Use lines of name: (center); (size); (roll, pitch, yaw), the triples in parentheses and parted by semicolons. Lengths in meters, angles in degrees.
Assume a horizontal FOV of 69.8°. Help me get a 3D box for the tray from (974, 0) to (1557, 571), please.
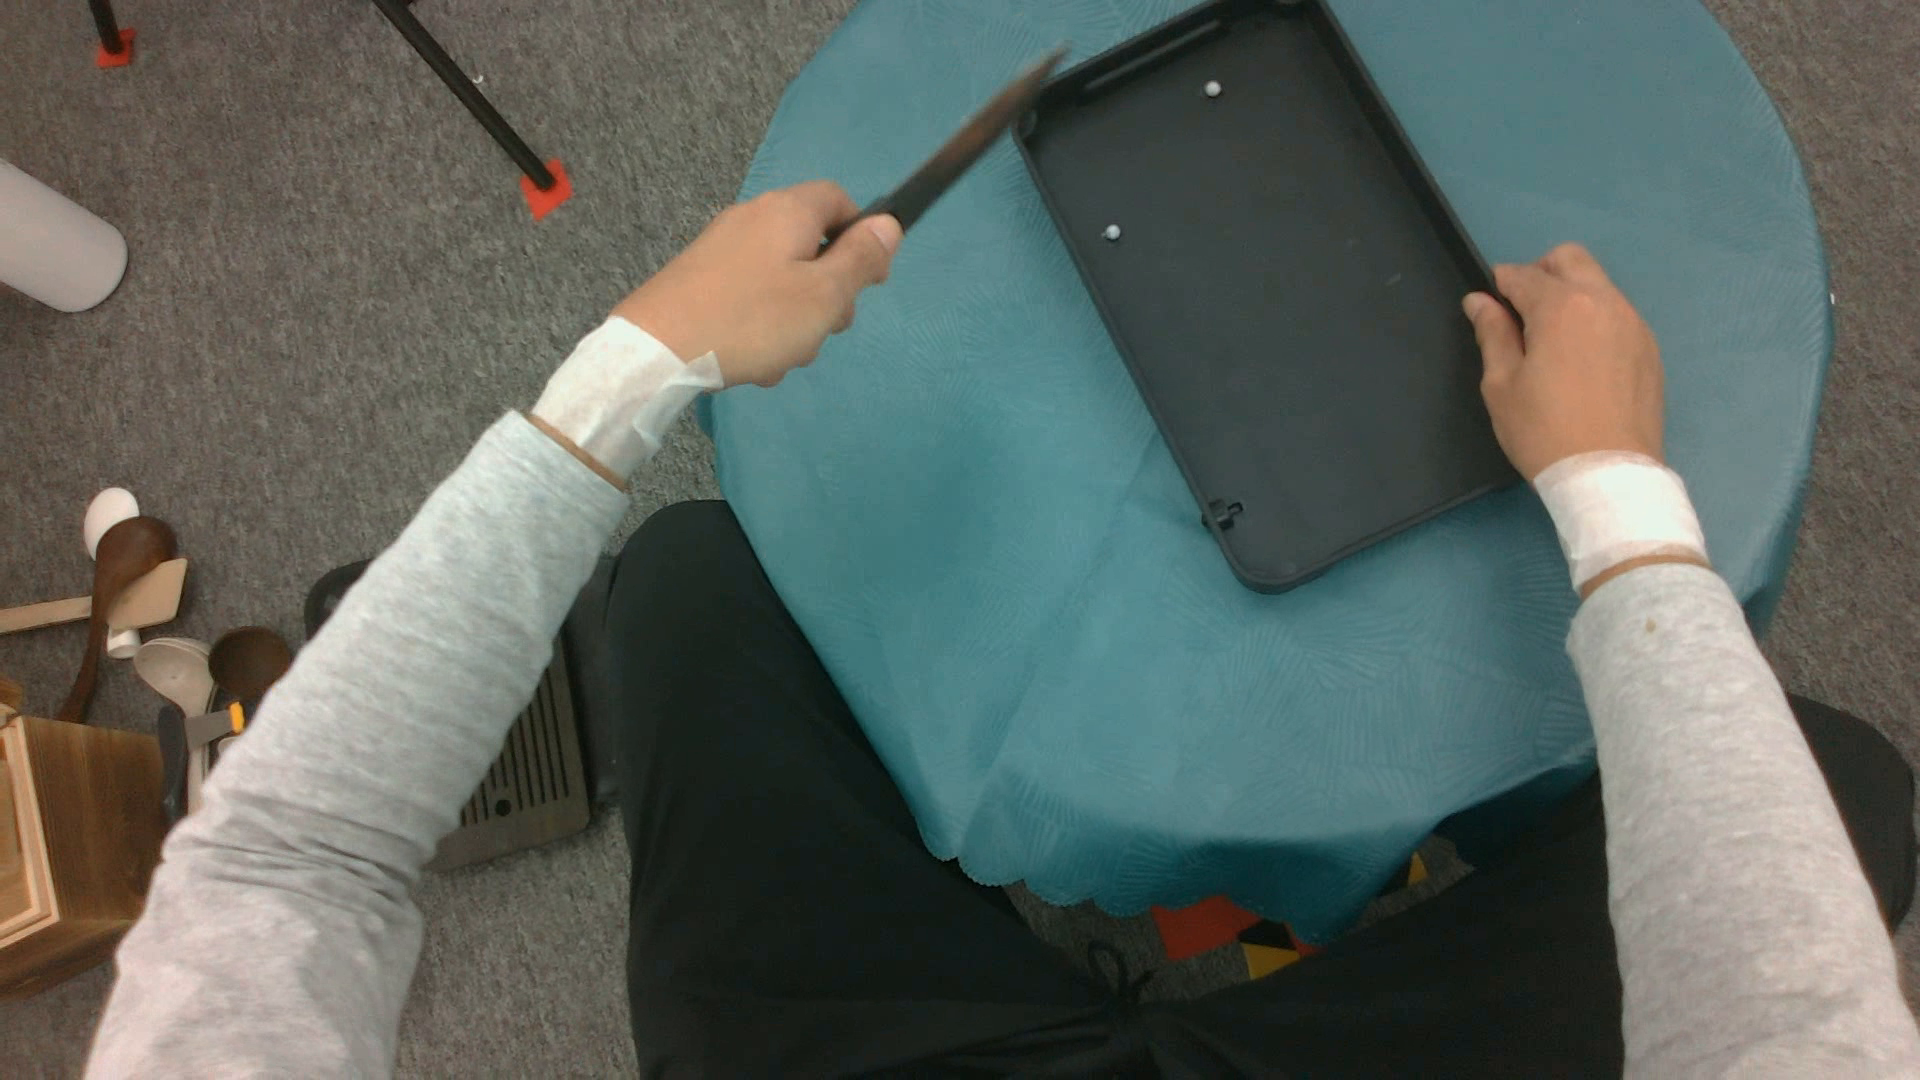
tray: (0.153, -0.154, 0.738); (0.184, 0.037, 0.318); (-28, 73, 2)

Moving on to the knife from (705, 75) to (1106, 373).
knife: (-0.020, -0.151, 0.623); (0.239, 0.024, 0.016); (-39, 50, -16)
